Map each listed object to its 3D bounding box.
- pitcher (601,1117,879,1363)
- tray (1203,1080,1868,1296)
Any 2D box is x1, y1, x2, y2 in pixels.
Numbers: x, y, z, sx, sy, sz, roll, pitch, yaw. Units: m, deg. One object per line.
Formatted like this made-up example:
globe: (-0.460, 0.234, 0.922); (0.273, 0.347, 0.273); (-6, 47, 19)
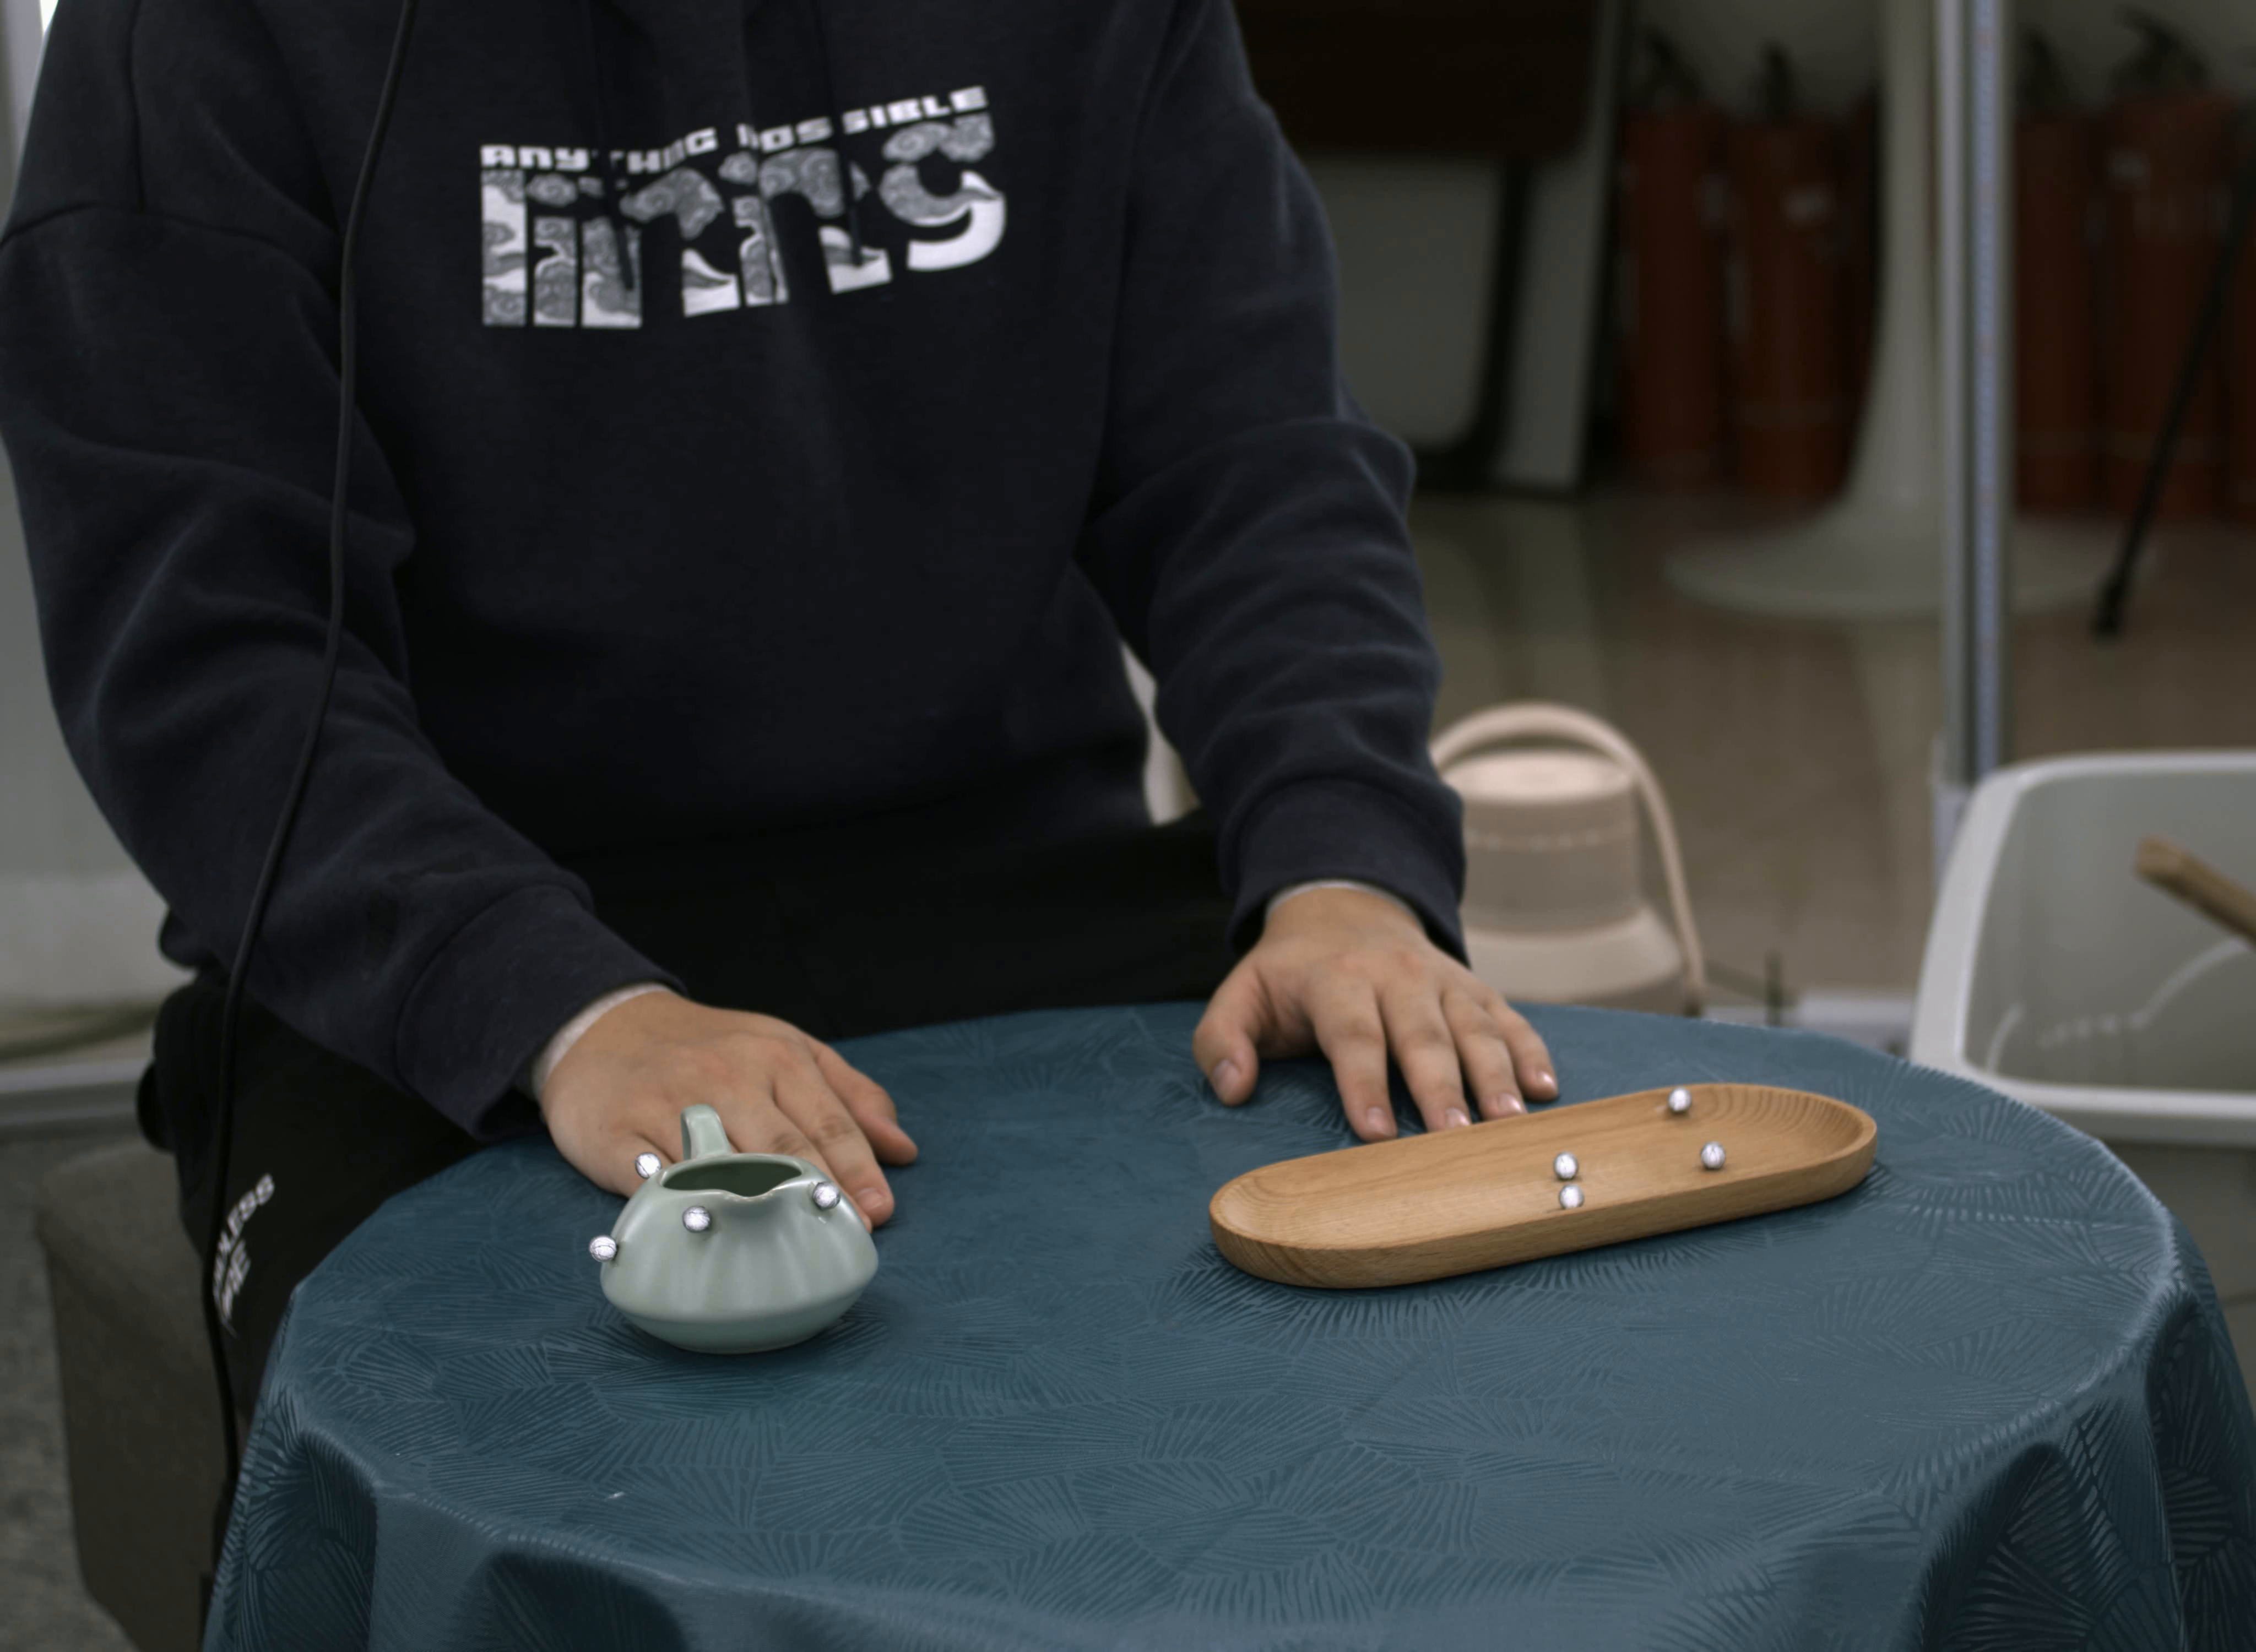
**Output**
pitcher: (-0.122, 0.128, 1.666); (0.084, 0.061, 0.109); (-6, 11, -15)
tray: (0.132, 0.116, 1.727); (0.226, 0.020, 0.102); (-12, 14, -22)
